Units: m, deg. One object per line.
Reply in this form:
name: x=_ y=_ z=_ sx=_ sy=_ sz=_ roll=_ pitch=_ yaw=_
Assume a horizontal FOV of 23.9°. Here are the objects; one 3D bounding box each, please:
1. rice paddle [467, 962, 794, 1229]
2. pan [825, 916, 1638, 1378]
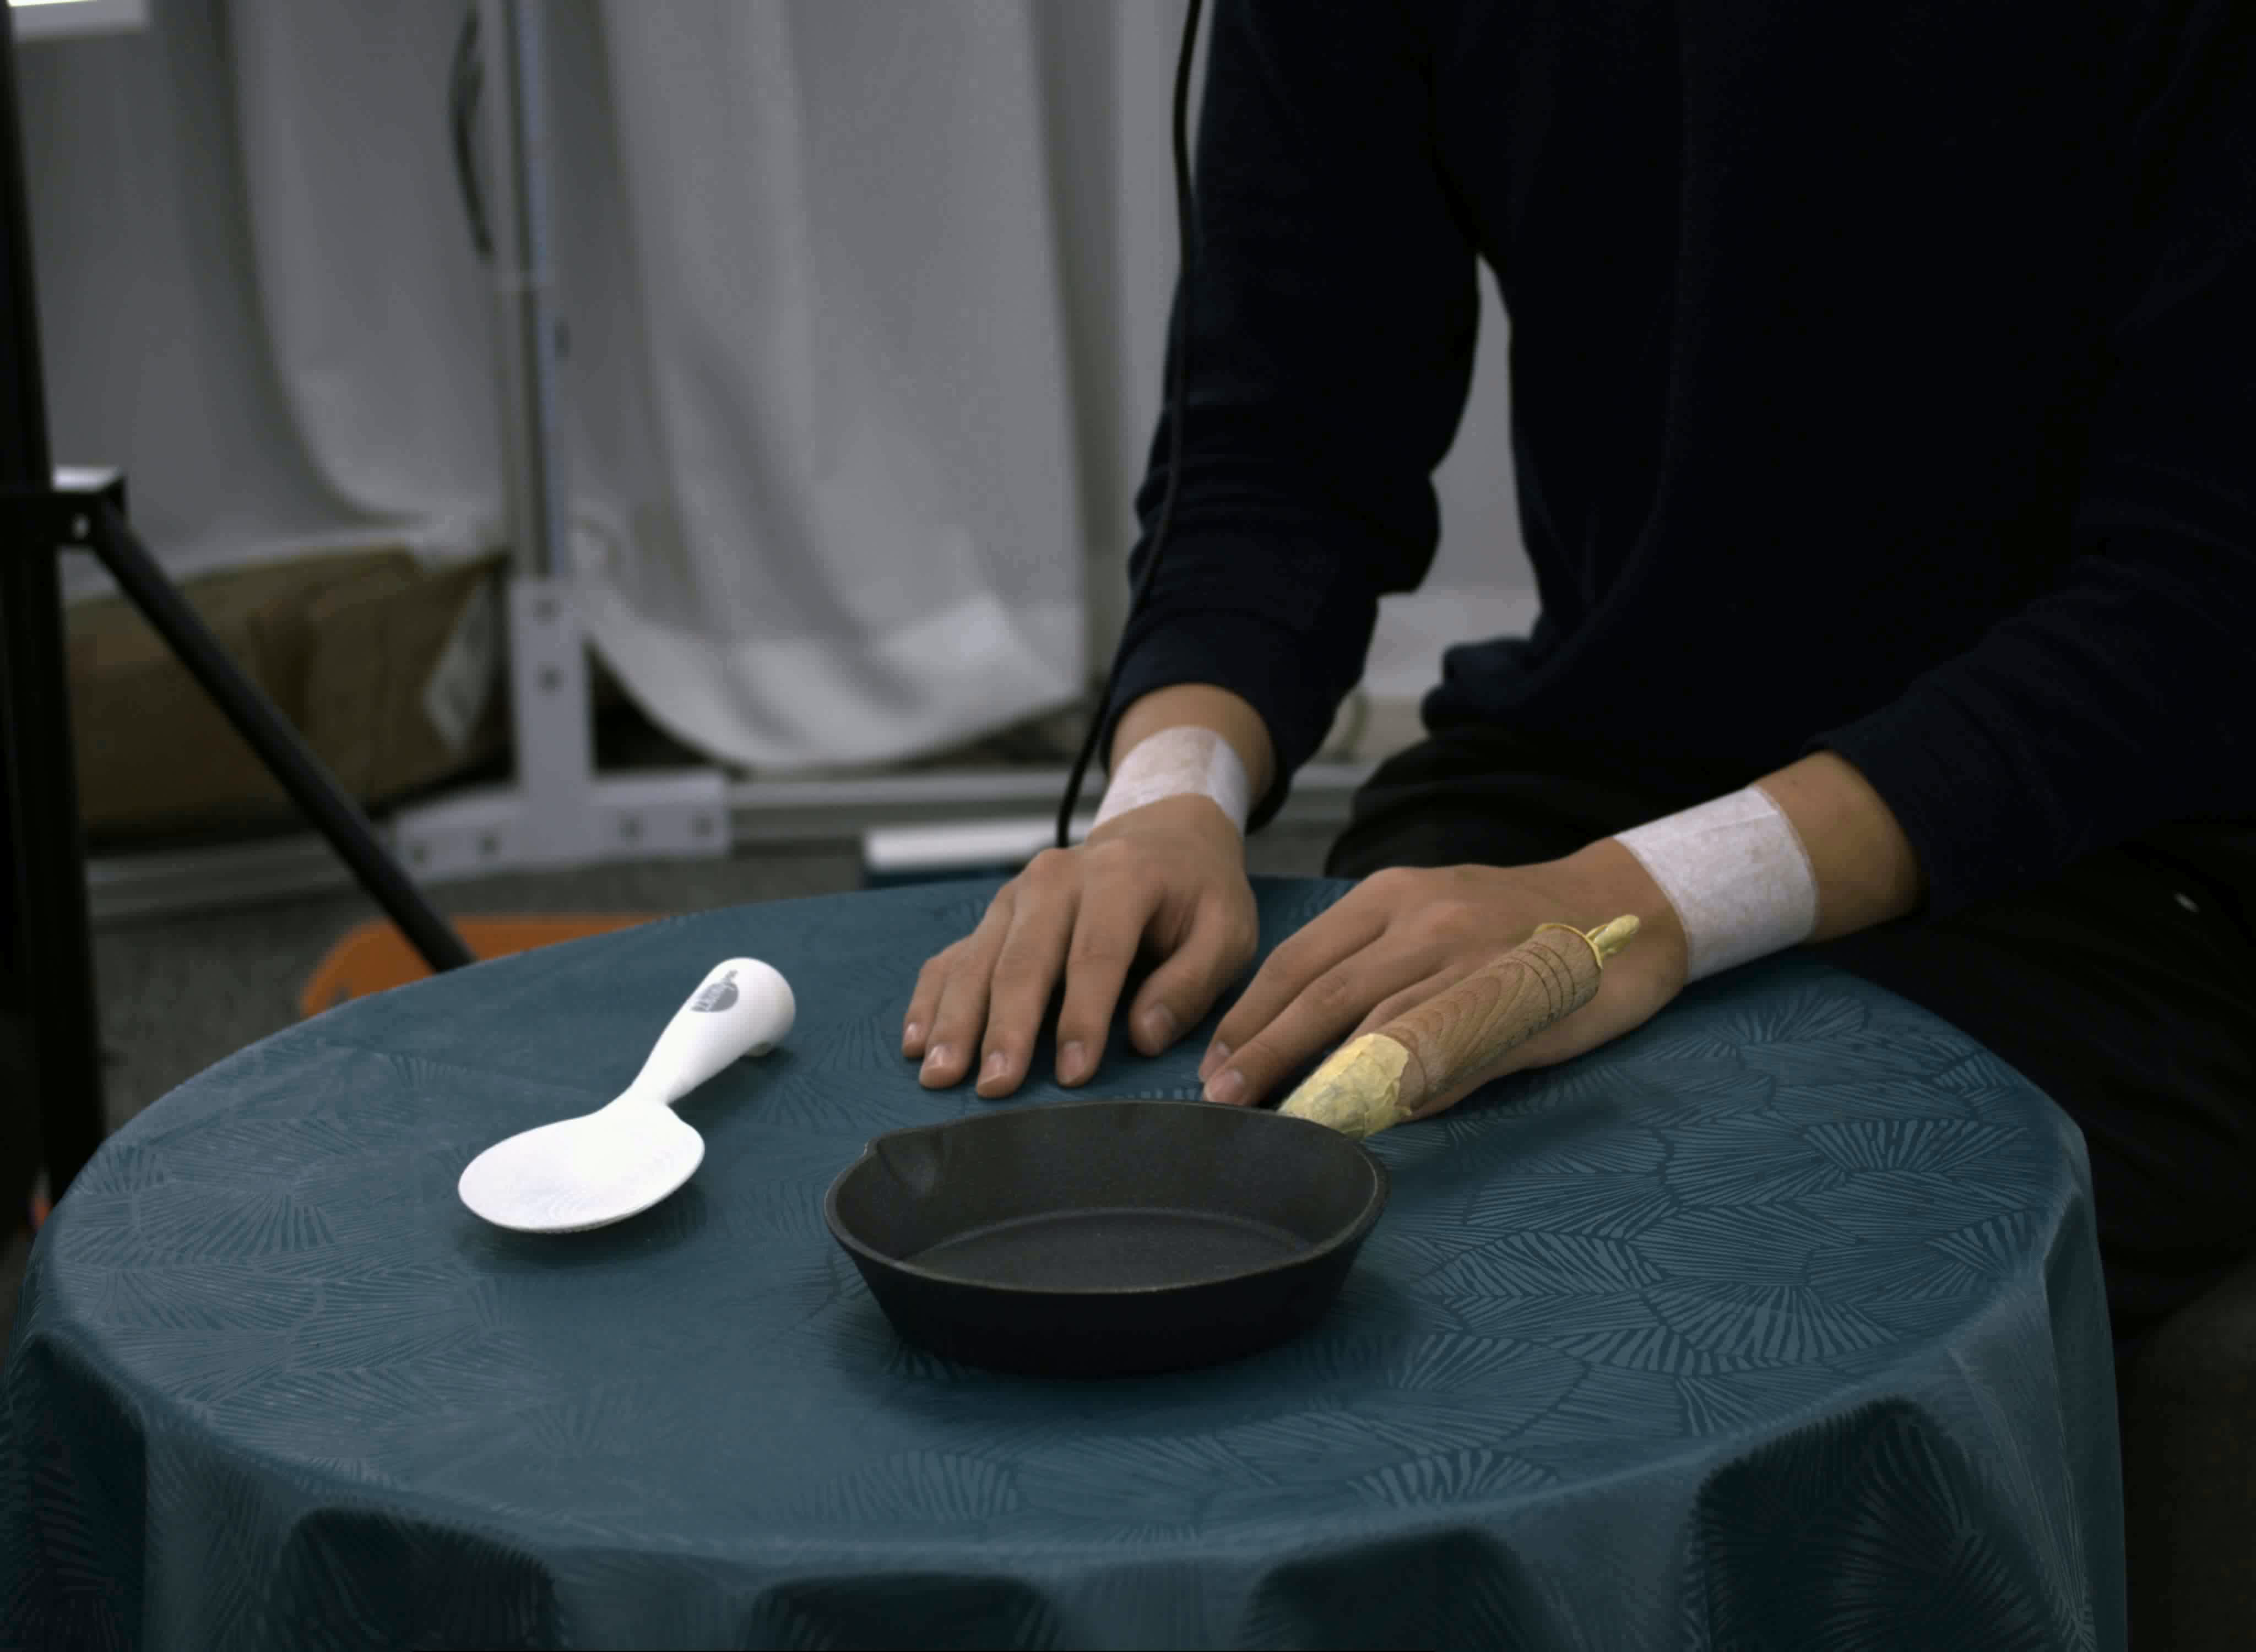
rice paddle: x=-0.144 y=0.084 z=1.614 sx=0.069 sy=0.029 sz=0.204 roll=-1 pitch=15 yaw=14
pan: x=0.050 y=0.088 z=1.526 sx=0.173 sy=0.049 sz=0.317 roll=11 pitch=22 yaw=41
